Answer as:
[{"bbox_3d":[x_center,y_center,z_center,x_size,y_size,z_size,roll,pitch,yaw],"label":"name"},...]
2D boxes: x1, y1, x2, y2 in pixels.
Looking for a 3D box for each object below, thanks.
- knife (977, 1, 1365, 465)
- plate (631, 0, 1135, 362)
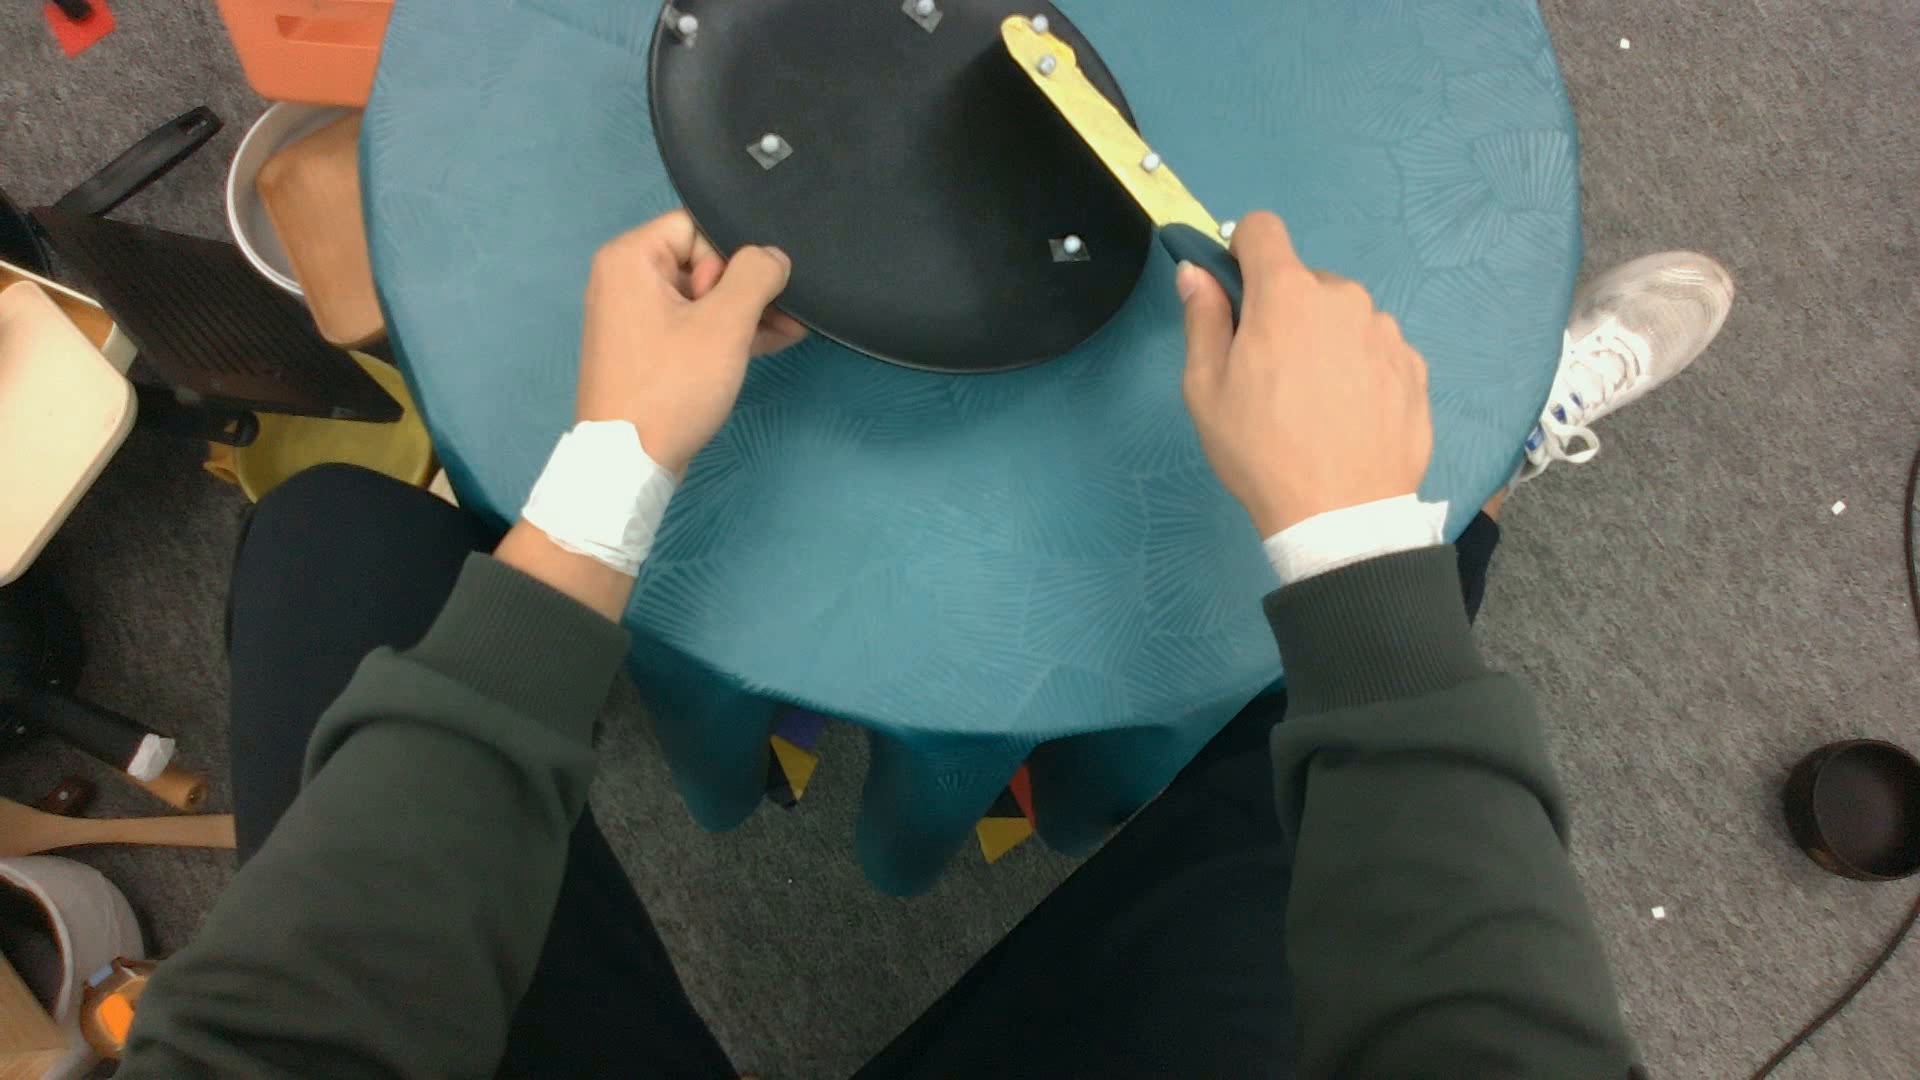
[{"bbox_3d":[0.090,-0.148,0.619,0.081,0.027,0.290,-6,57,-51],"label":"knife"},{"bbox_3d":[-0.030,-0.187,0.634,0.245,0.023,0.245,10,64,-21],"label":"plate"}]
